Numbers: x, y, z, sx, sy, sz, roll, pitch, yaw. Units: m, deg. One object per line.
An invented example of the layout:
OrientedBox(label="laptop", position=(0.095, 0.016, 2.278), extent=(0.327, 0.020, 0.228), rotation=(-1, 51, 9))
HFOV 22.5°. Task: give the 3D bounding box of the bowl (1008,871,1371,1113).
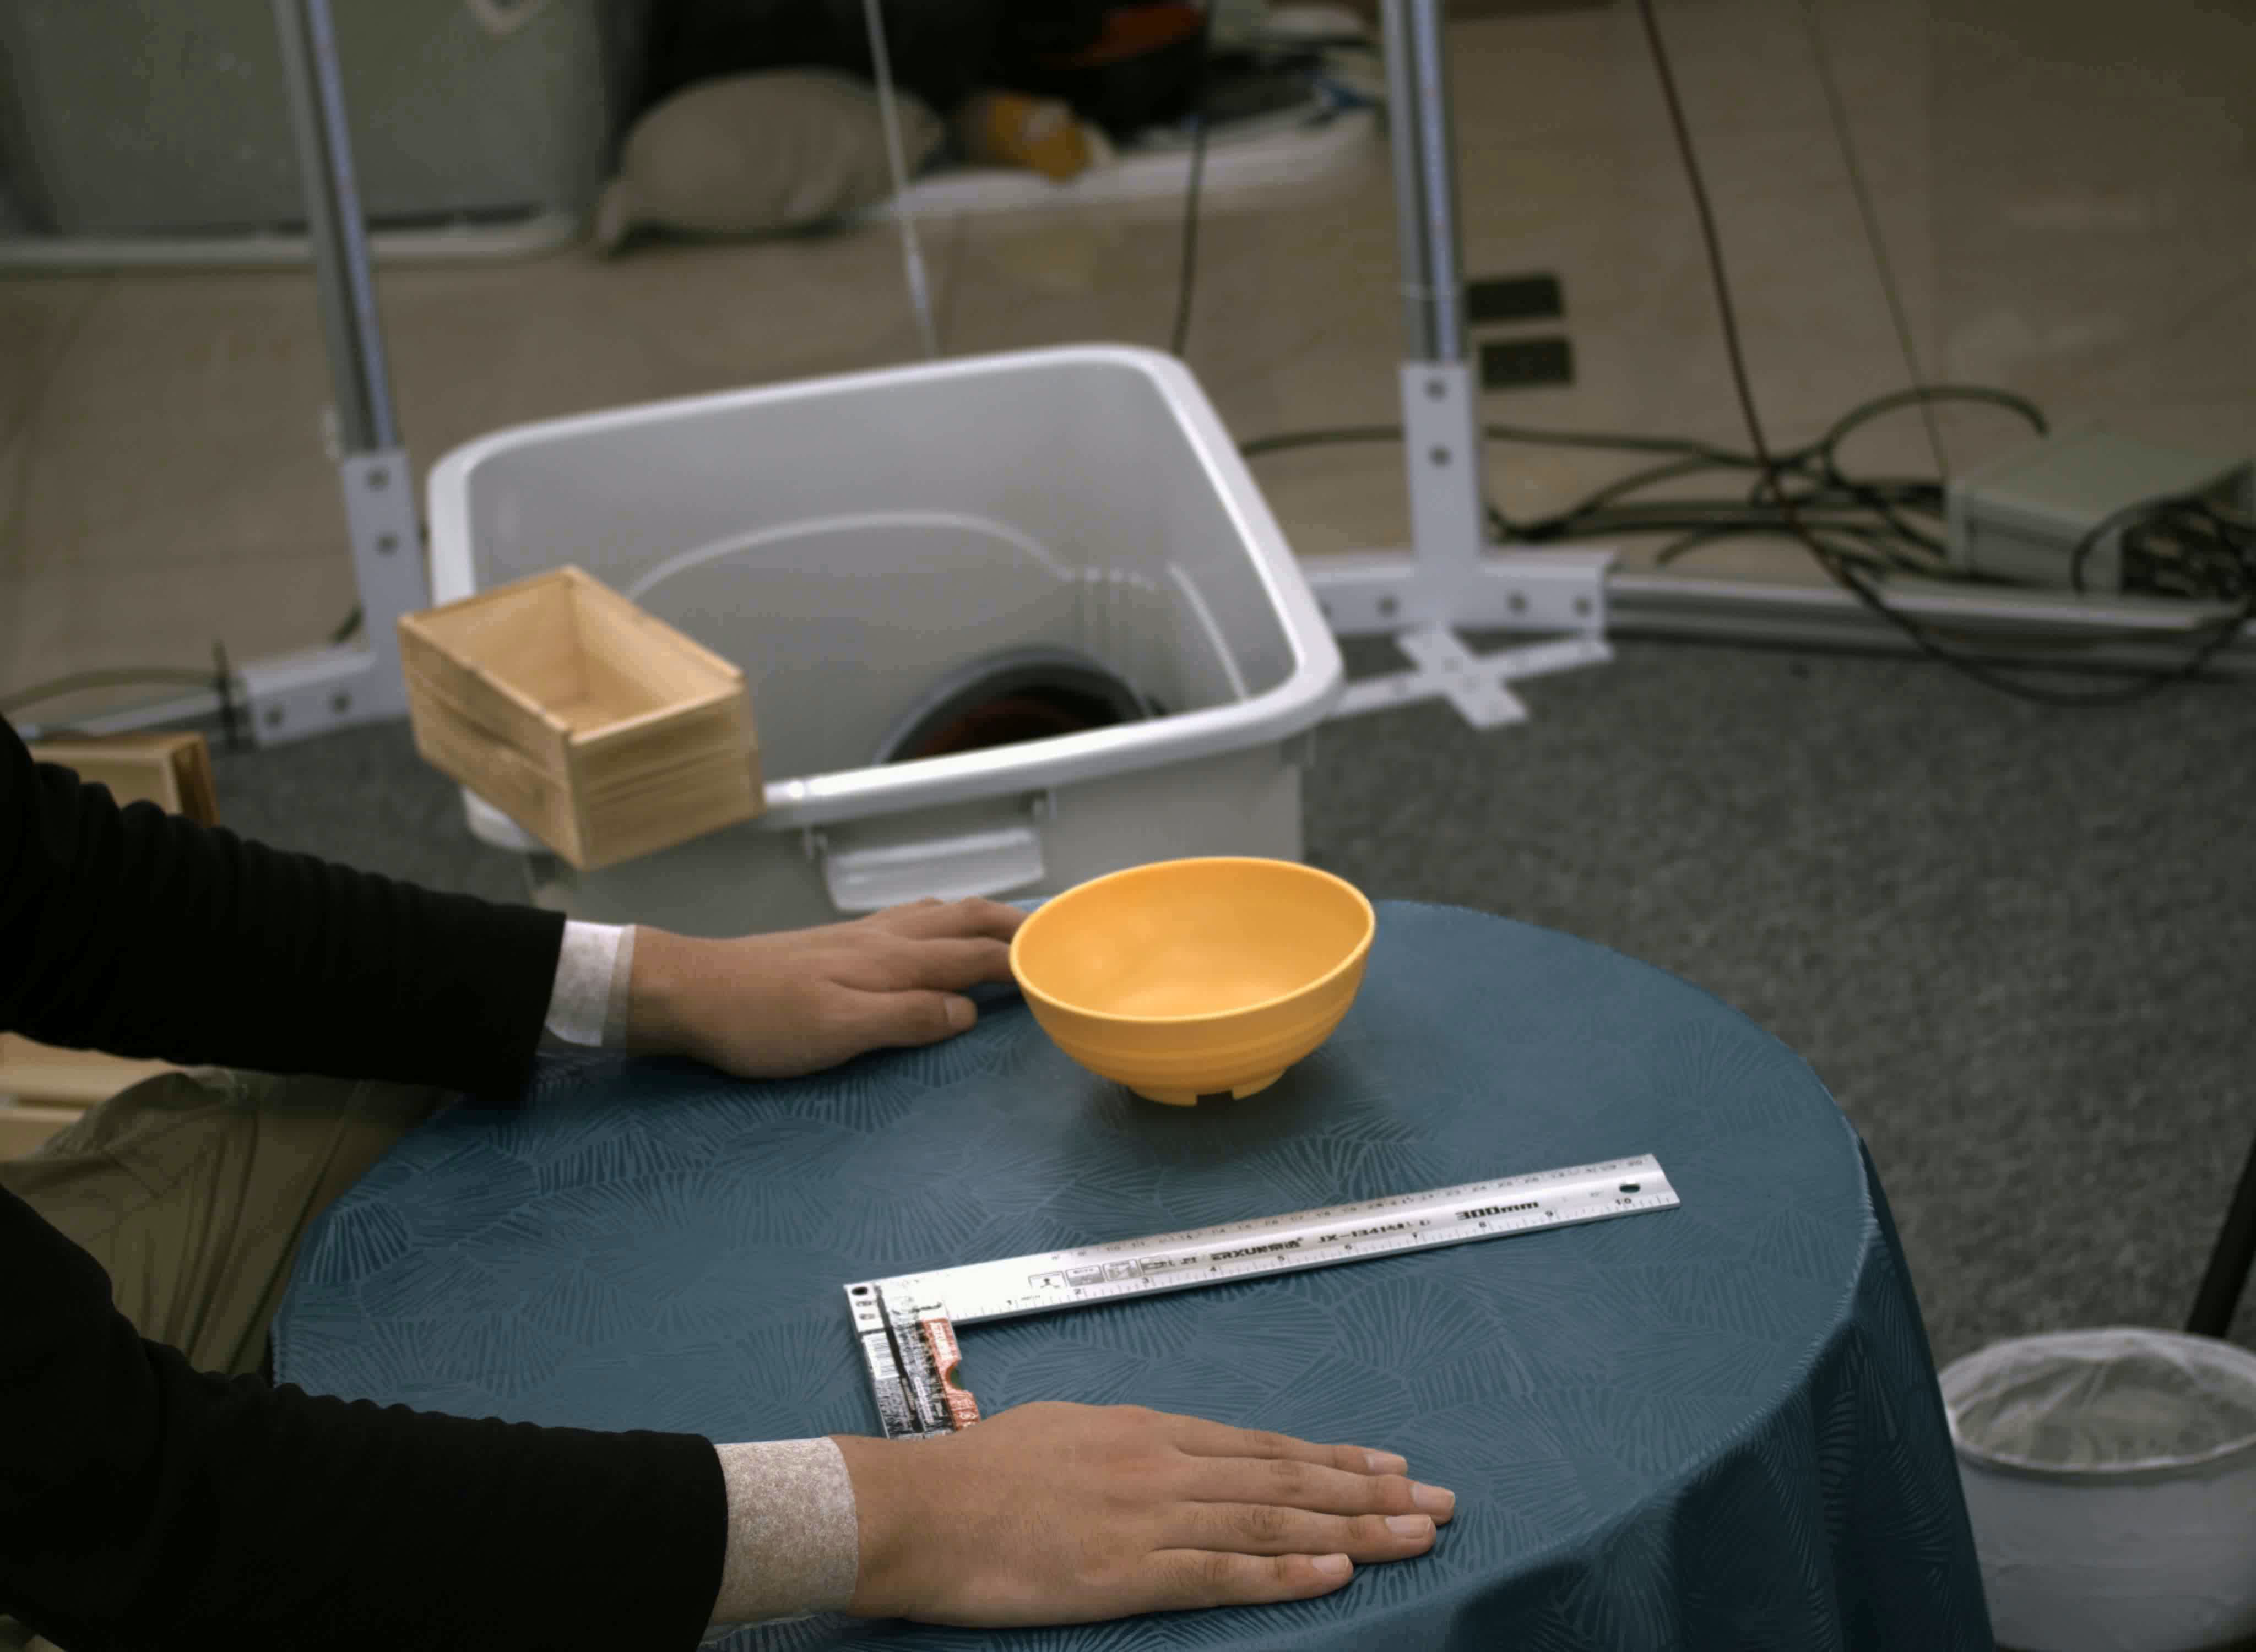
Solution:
OrientedBox(label="bowl", position=(0.028, 0.072, 2.220), extent=(0.145, 0.061, 0.143), rotation=(-7, 23, 3))

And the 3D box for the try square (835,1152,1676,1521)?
OrientedBox(label="try square", position=(0.056, 0.179, 2.046), extent=(0.312, 0.016, 0.150), rotation=(-9, 29, -7))
